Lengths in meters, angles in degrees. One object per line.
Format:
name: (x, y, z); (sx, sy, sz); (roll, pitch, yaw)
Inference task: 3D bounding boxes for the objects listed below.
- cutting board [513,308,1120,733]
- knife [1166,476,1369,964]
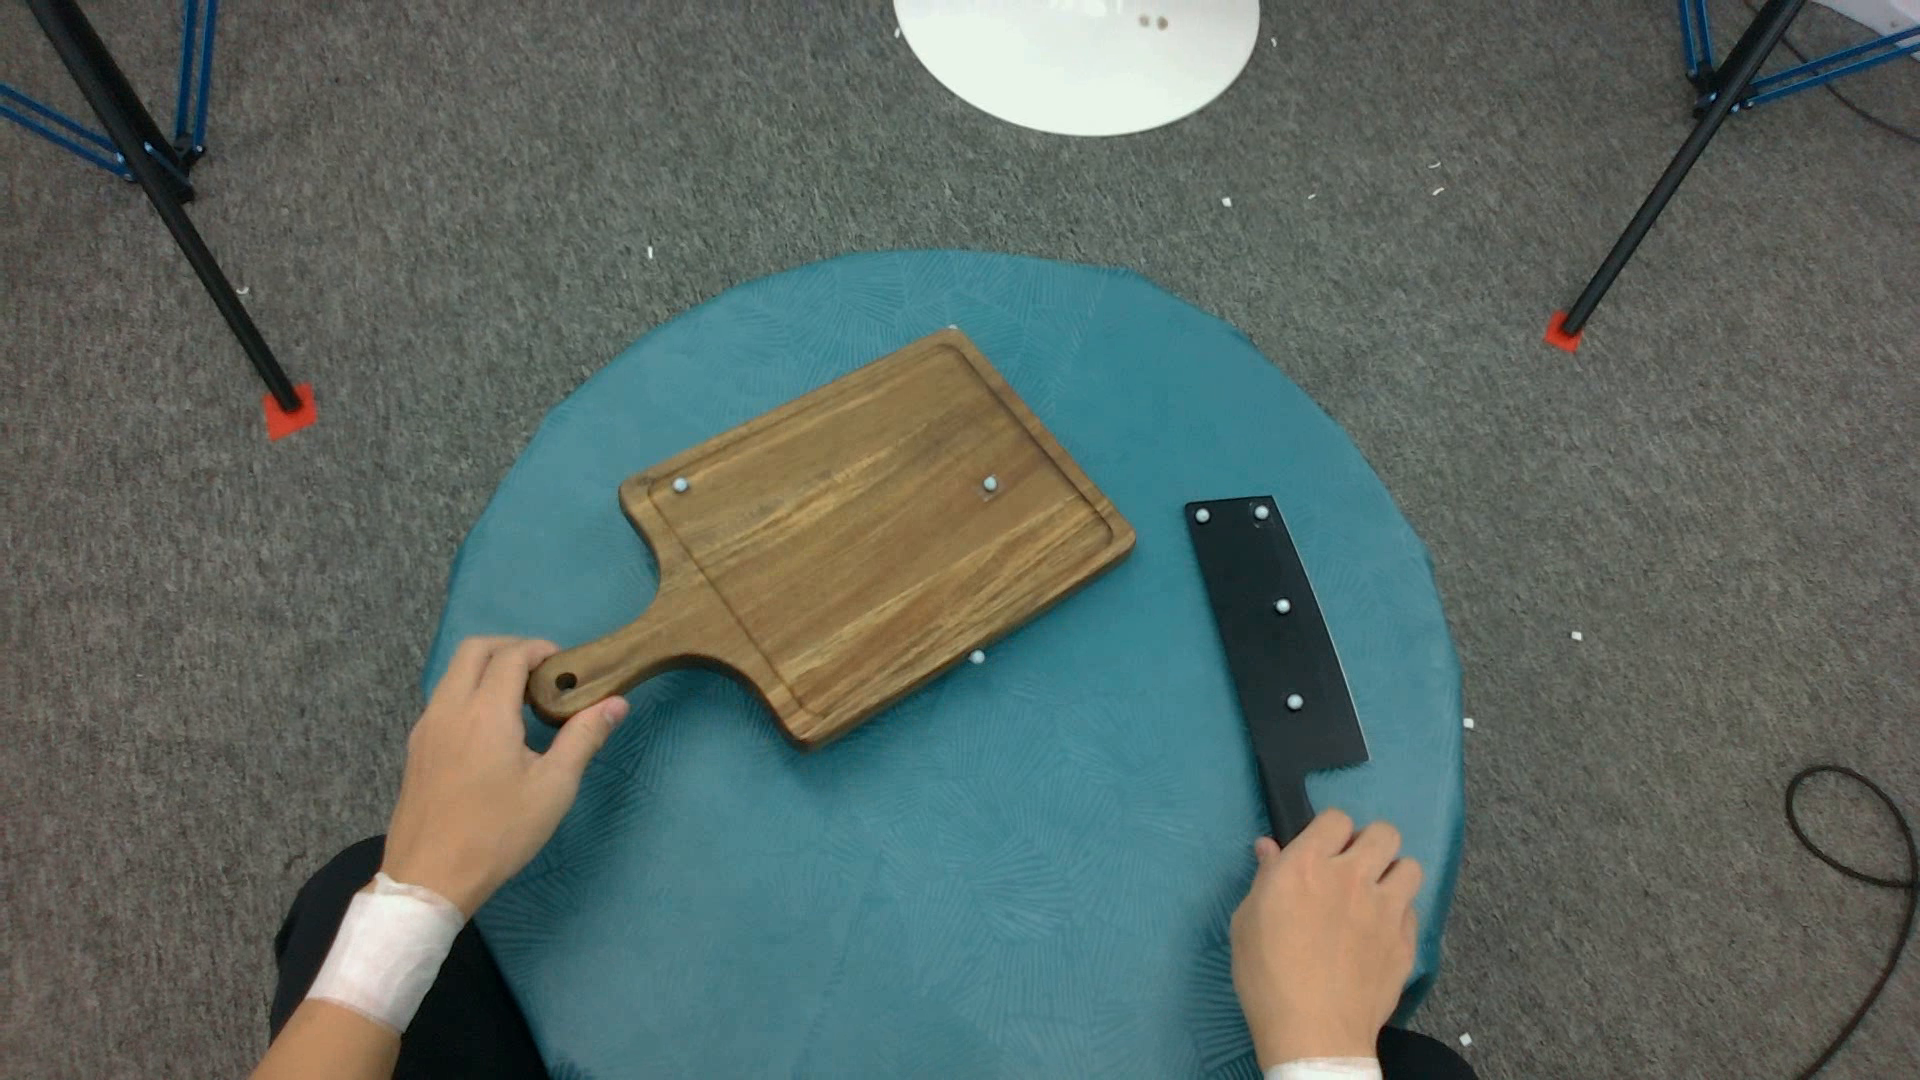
cutting board: (-0.092, -0.003, 0.787); (0.353, 0.023, 0.201); (-30, 69, -29)
knife: (0.185, 0.092, 0.798); (0.081, 0.021, 0.303); (-3, 61, -9)
